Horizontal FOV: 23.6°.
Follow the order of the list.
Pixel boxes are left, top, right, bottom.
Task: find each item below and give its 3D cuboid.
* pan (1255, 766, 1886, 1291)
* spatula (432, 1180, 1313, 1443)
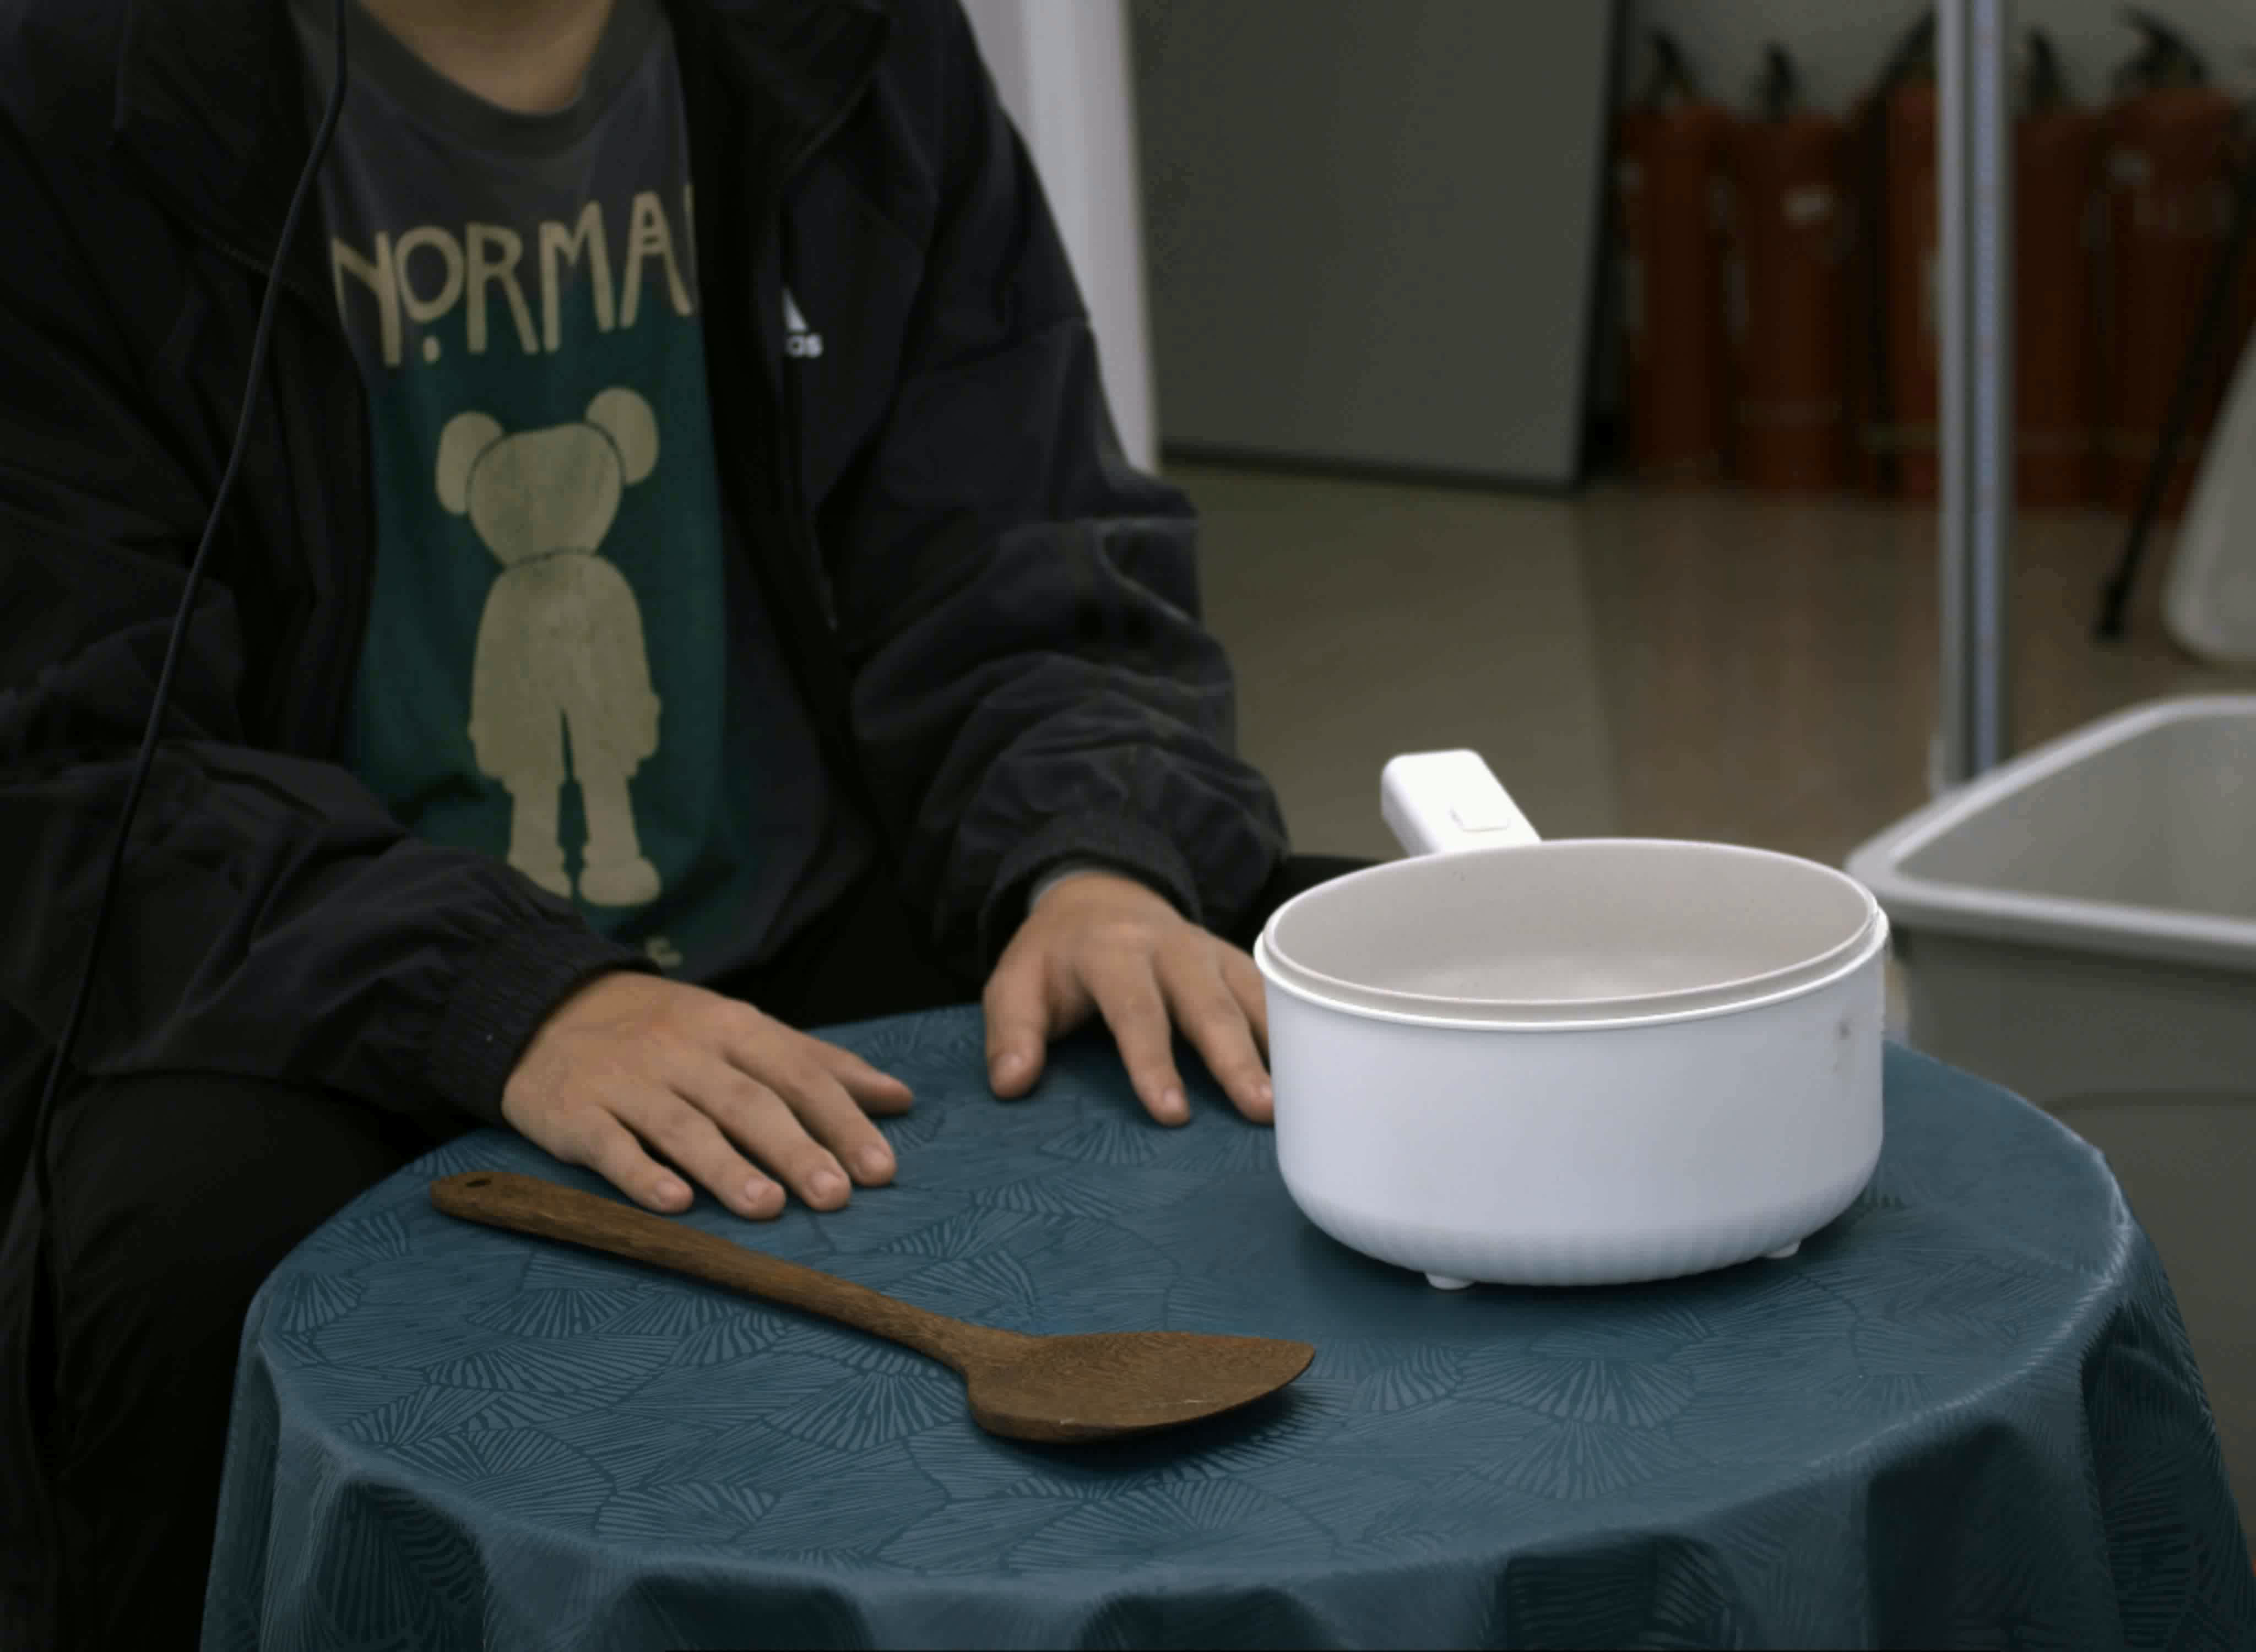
[{"bbox_3d":[0.134,0.061,1.777,0.198,0.103,0.356,-6,12,-5],"label":"pan"},{"bbox_3d":[-0.099,0.146,1.676,0.094,0.016,0.390,-15,17,-40],"label":"spatula"}]
